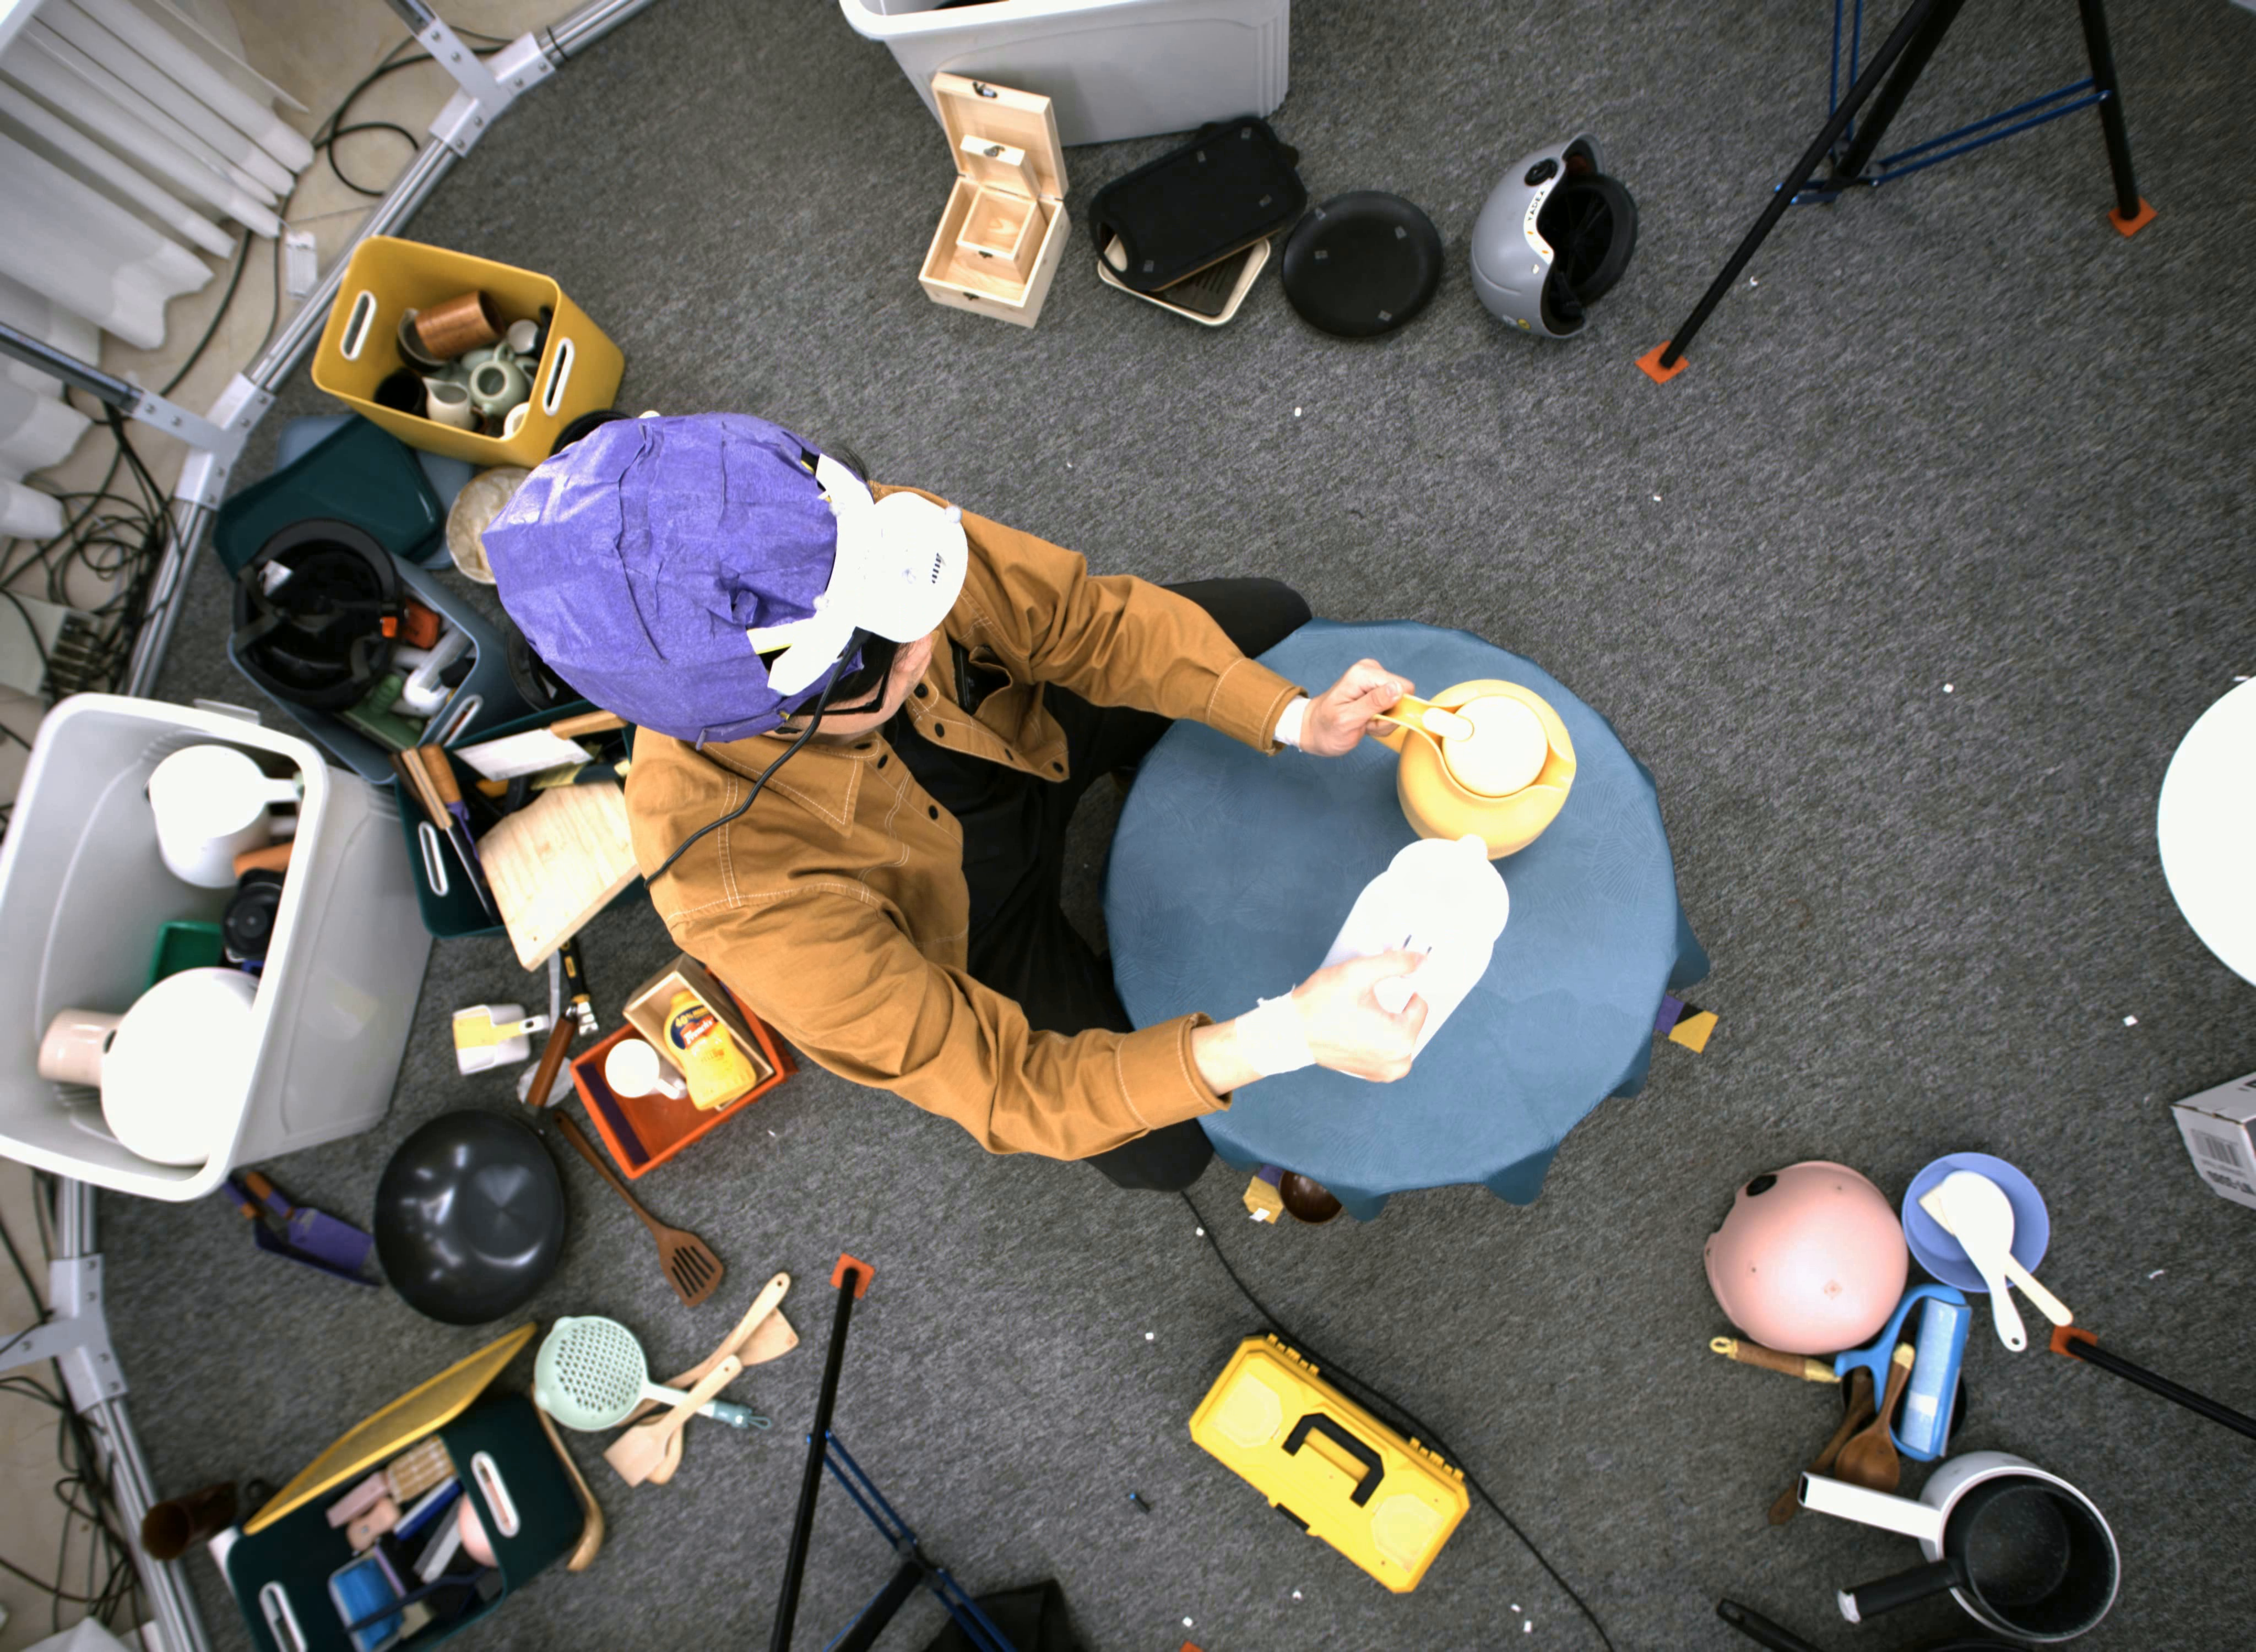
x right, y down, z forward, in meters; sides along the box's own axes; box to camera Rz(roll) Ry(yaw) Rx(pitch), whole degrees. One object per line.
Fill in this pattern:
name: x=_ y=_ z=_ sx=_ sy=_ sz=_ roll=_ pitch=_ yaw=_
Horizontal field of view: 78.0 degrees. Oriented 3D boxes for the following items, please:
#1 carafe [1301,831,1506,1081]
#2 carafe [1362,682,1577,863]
carafe: x=0.224 y=0.131 z=1.171 sx=0.123 sy=0.275 sz=0.169 roll=30 pitch=62 yaw=8
carafe: x=0.320 y=-0.065 z=1.303 sx=0.202 sy=0.261 sz=0.163 roll=27 pitch=87 yaw=10
